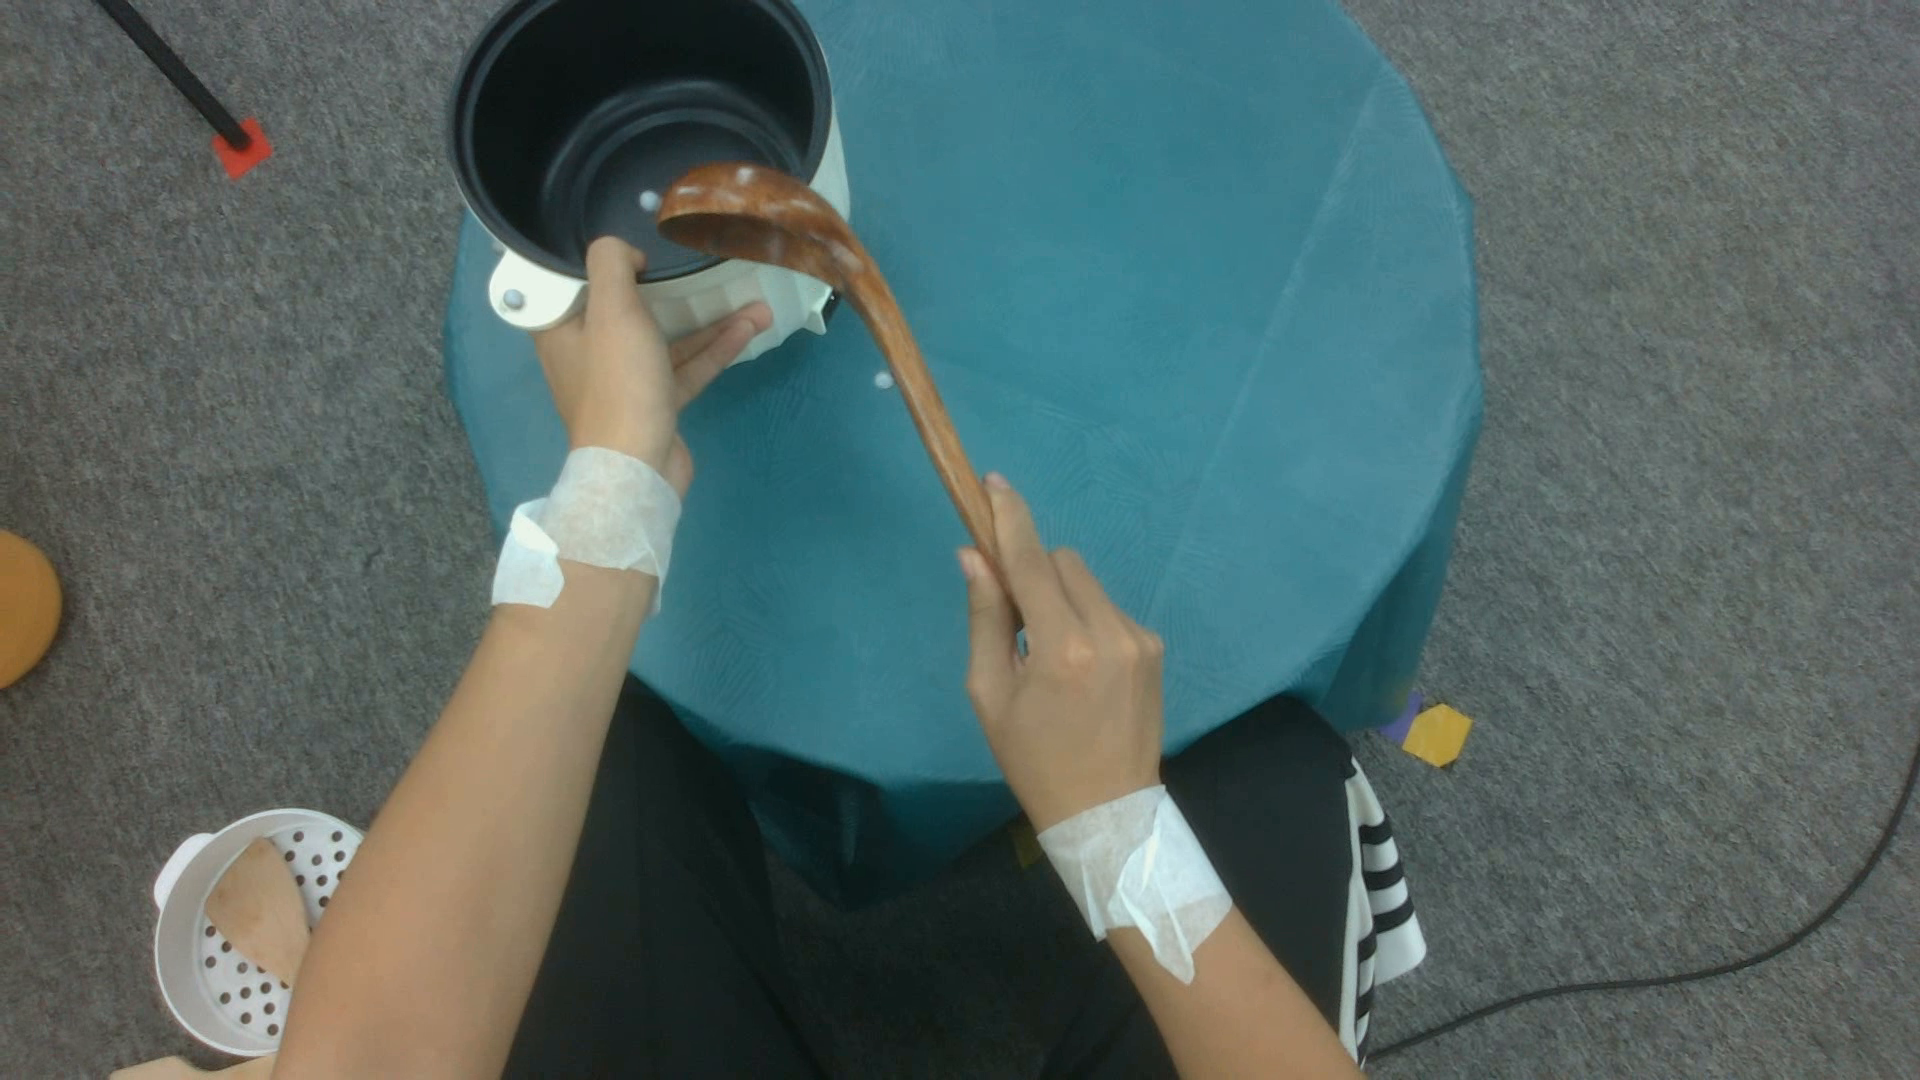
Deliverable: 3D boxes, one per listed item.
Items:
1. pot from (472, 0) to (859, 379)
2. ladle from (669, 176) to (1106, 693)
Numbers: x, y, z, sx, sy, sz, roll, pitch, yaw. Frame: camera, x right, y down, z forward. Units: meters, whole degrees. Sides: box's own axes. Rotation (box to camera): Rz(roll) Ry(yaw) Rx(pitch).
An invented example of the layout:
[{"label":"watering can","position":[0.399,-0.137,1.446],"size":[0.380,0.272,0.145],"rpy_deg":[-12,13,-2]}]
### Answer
[{"label":"pot","position":[-0.149,-0.182,0.727],"size":[0.190,0.142,0.241],"rpy_deg":[24,74,6]},{"label":"ladle","position":[-0.032,-0.038,0.599],"size":[0.076,0.082,0.274],"rpy_deg":[-28,94,-2]}]
